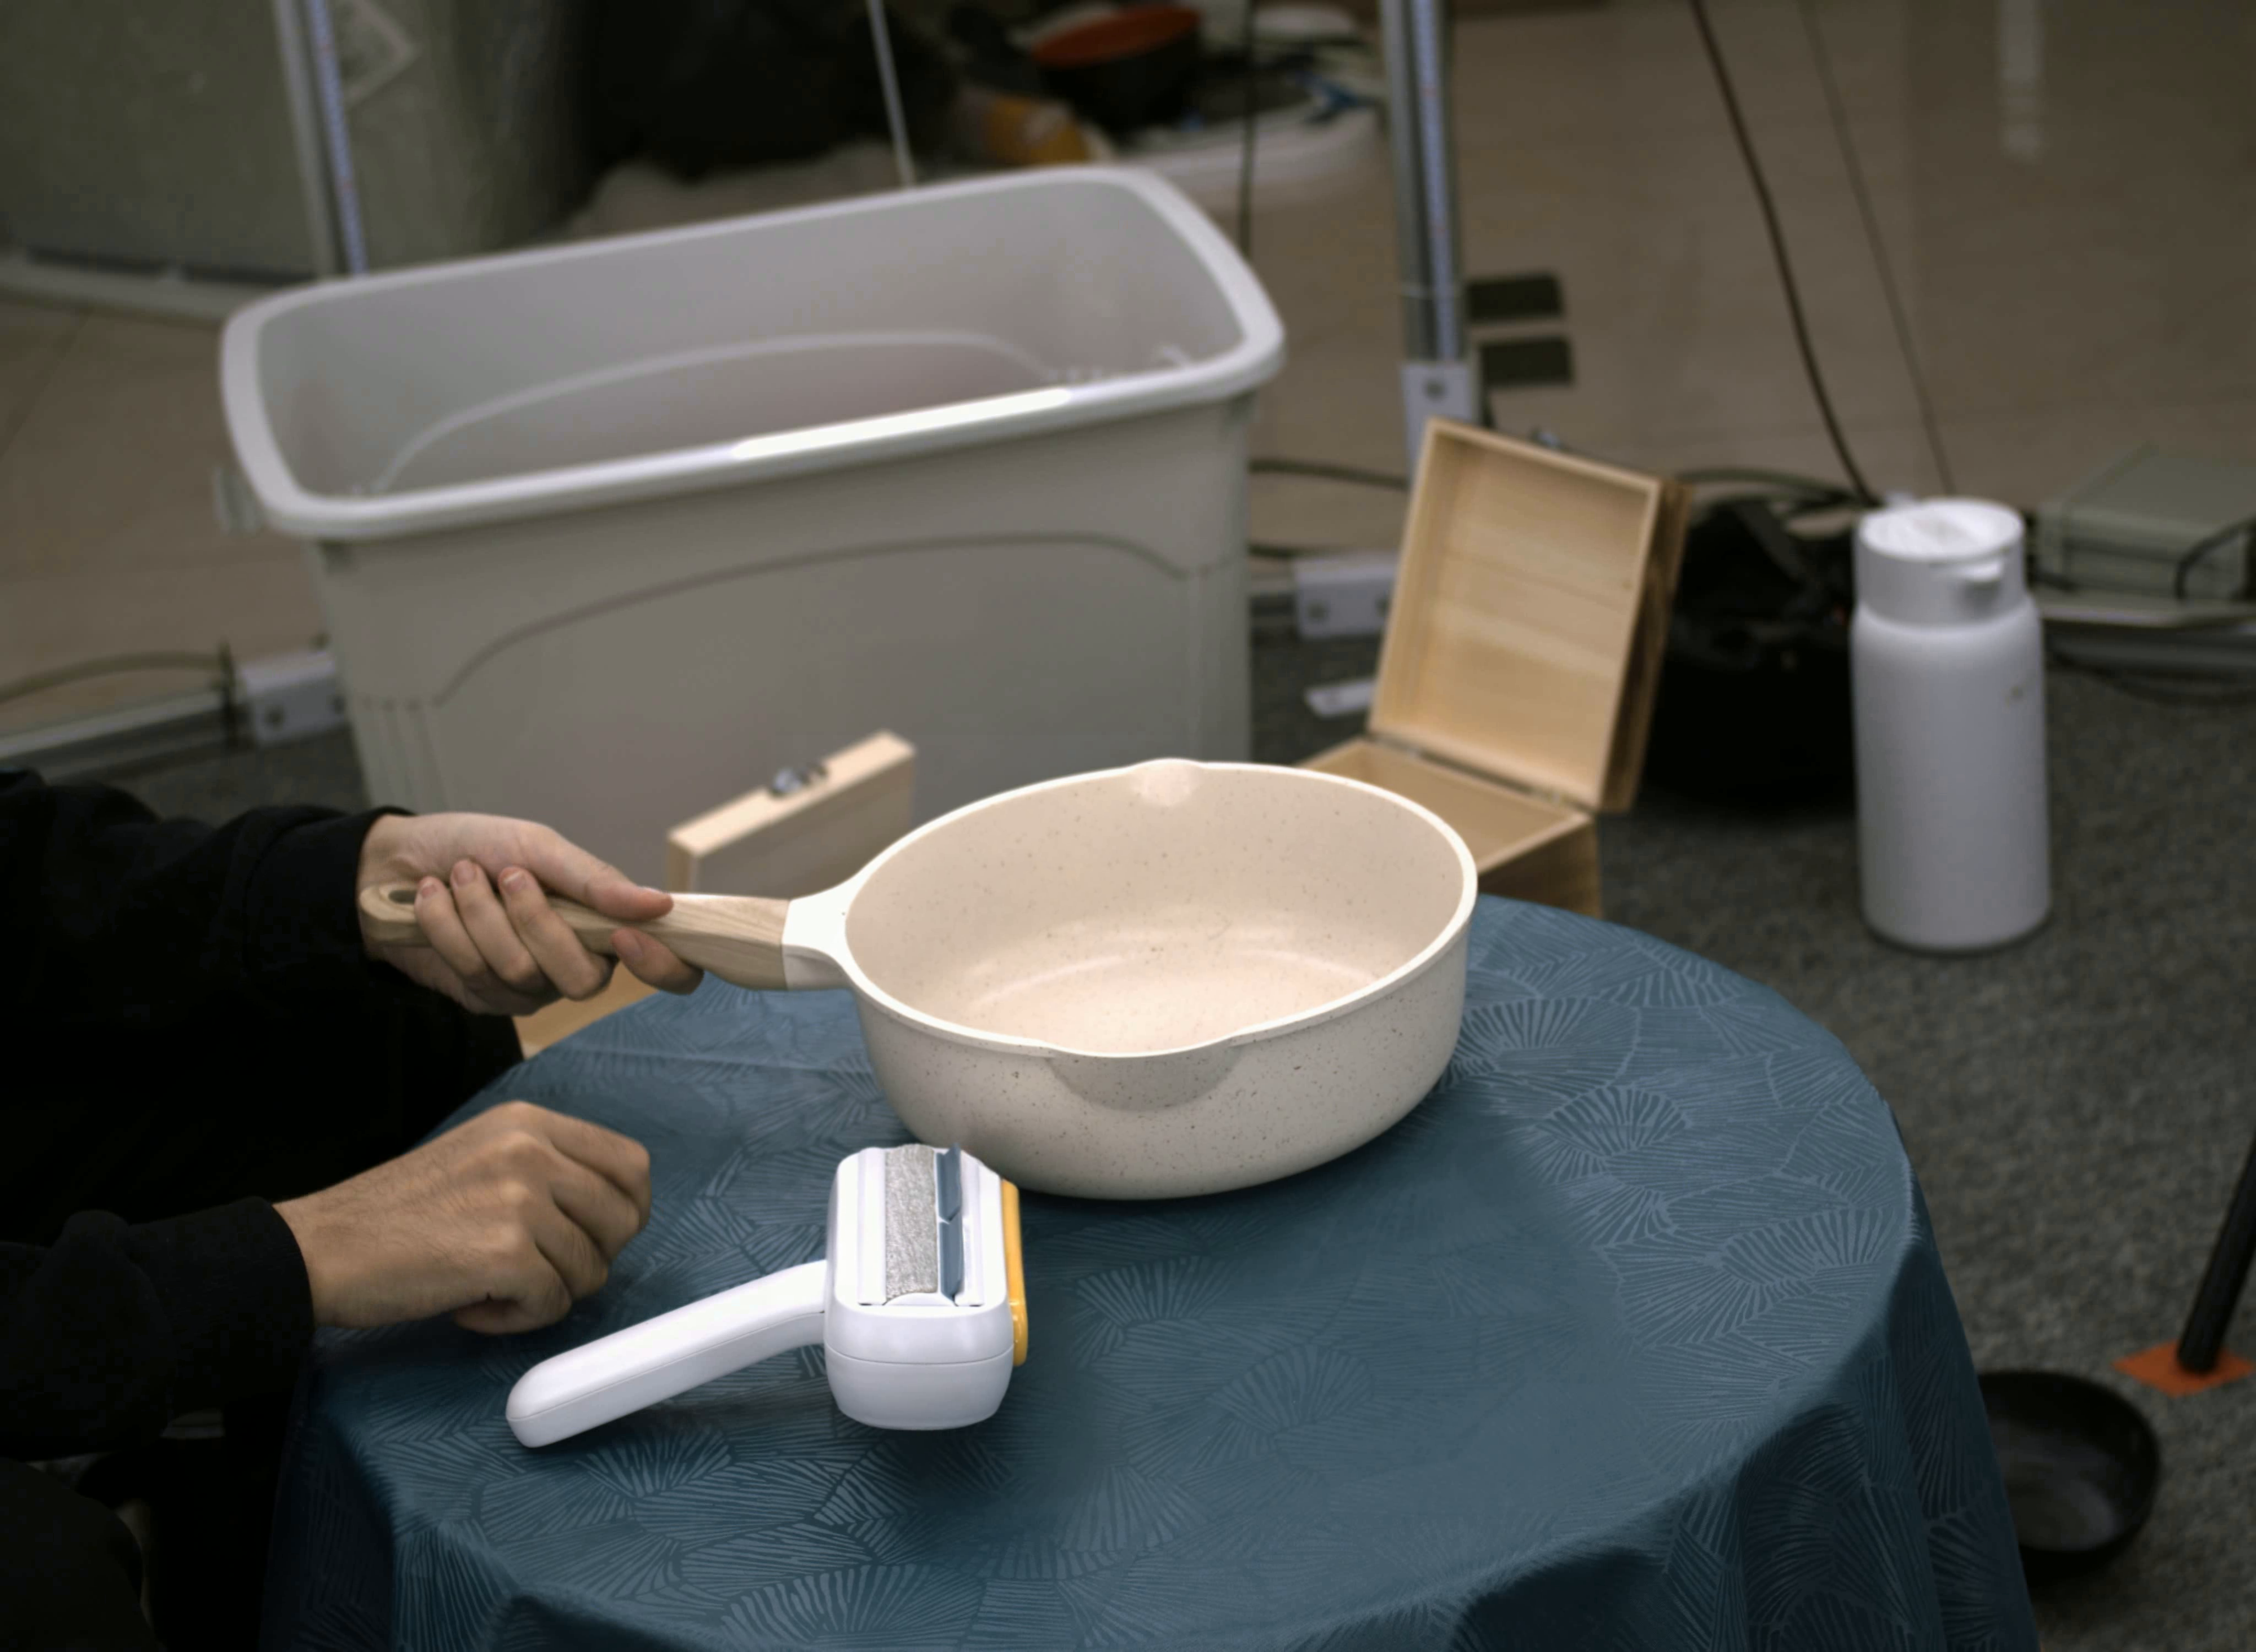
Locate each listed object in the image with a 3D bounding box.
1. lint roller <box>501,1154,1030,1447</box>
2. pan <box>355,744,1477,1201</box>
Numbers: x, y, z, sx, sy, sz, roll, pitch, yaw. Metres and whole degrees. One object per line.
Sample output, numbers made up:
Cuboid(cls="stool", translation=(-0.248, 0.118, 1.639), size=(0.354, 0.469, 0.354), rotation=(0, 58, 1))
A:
Cuboid(cls="lint roller", translation=(-0.131, 0.178, 2.012), size=(0.192, 0.075, 0.190), rotation=(-7, 19, 3))
Cuboid(cls="pan", translation=(-0.079, 0.061, 2.208), size=(0.434, 0.104, 0.259), rotation=(-4, 28, 4))
